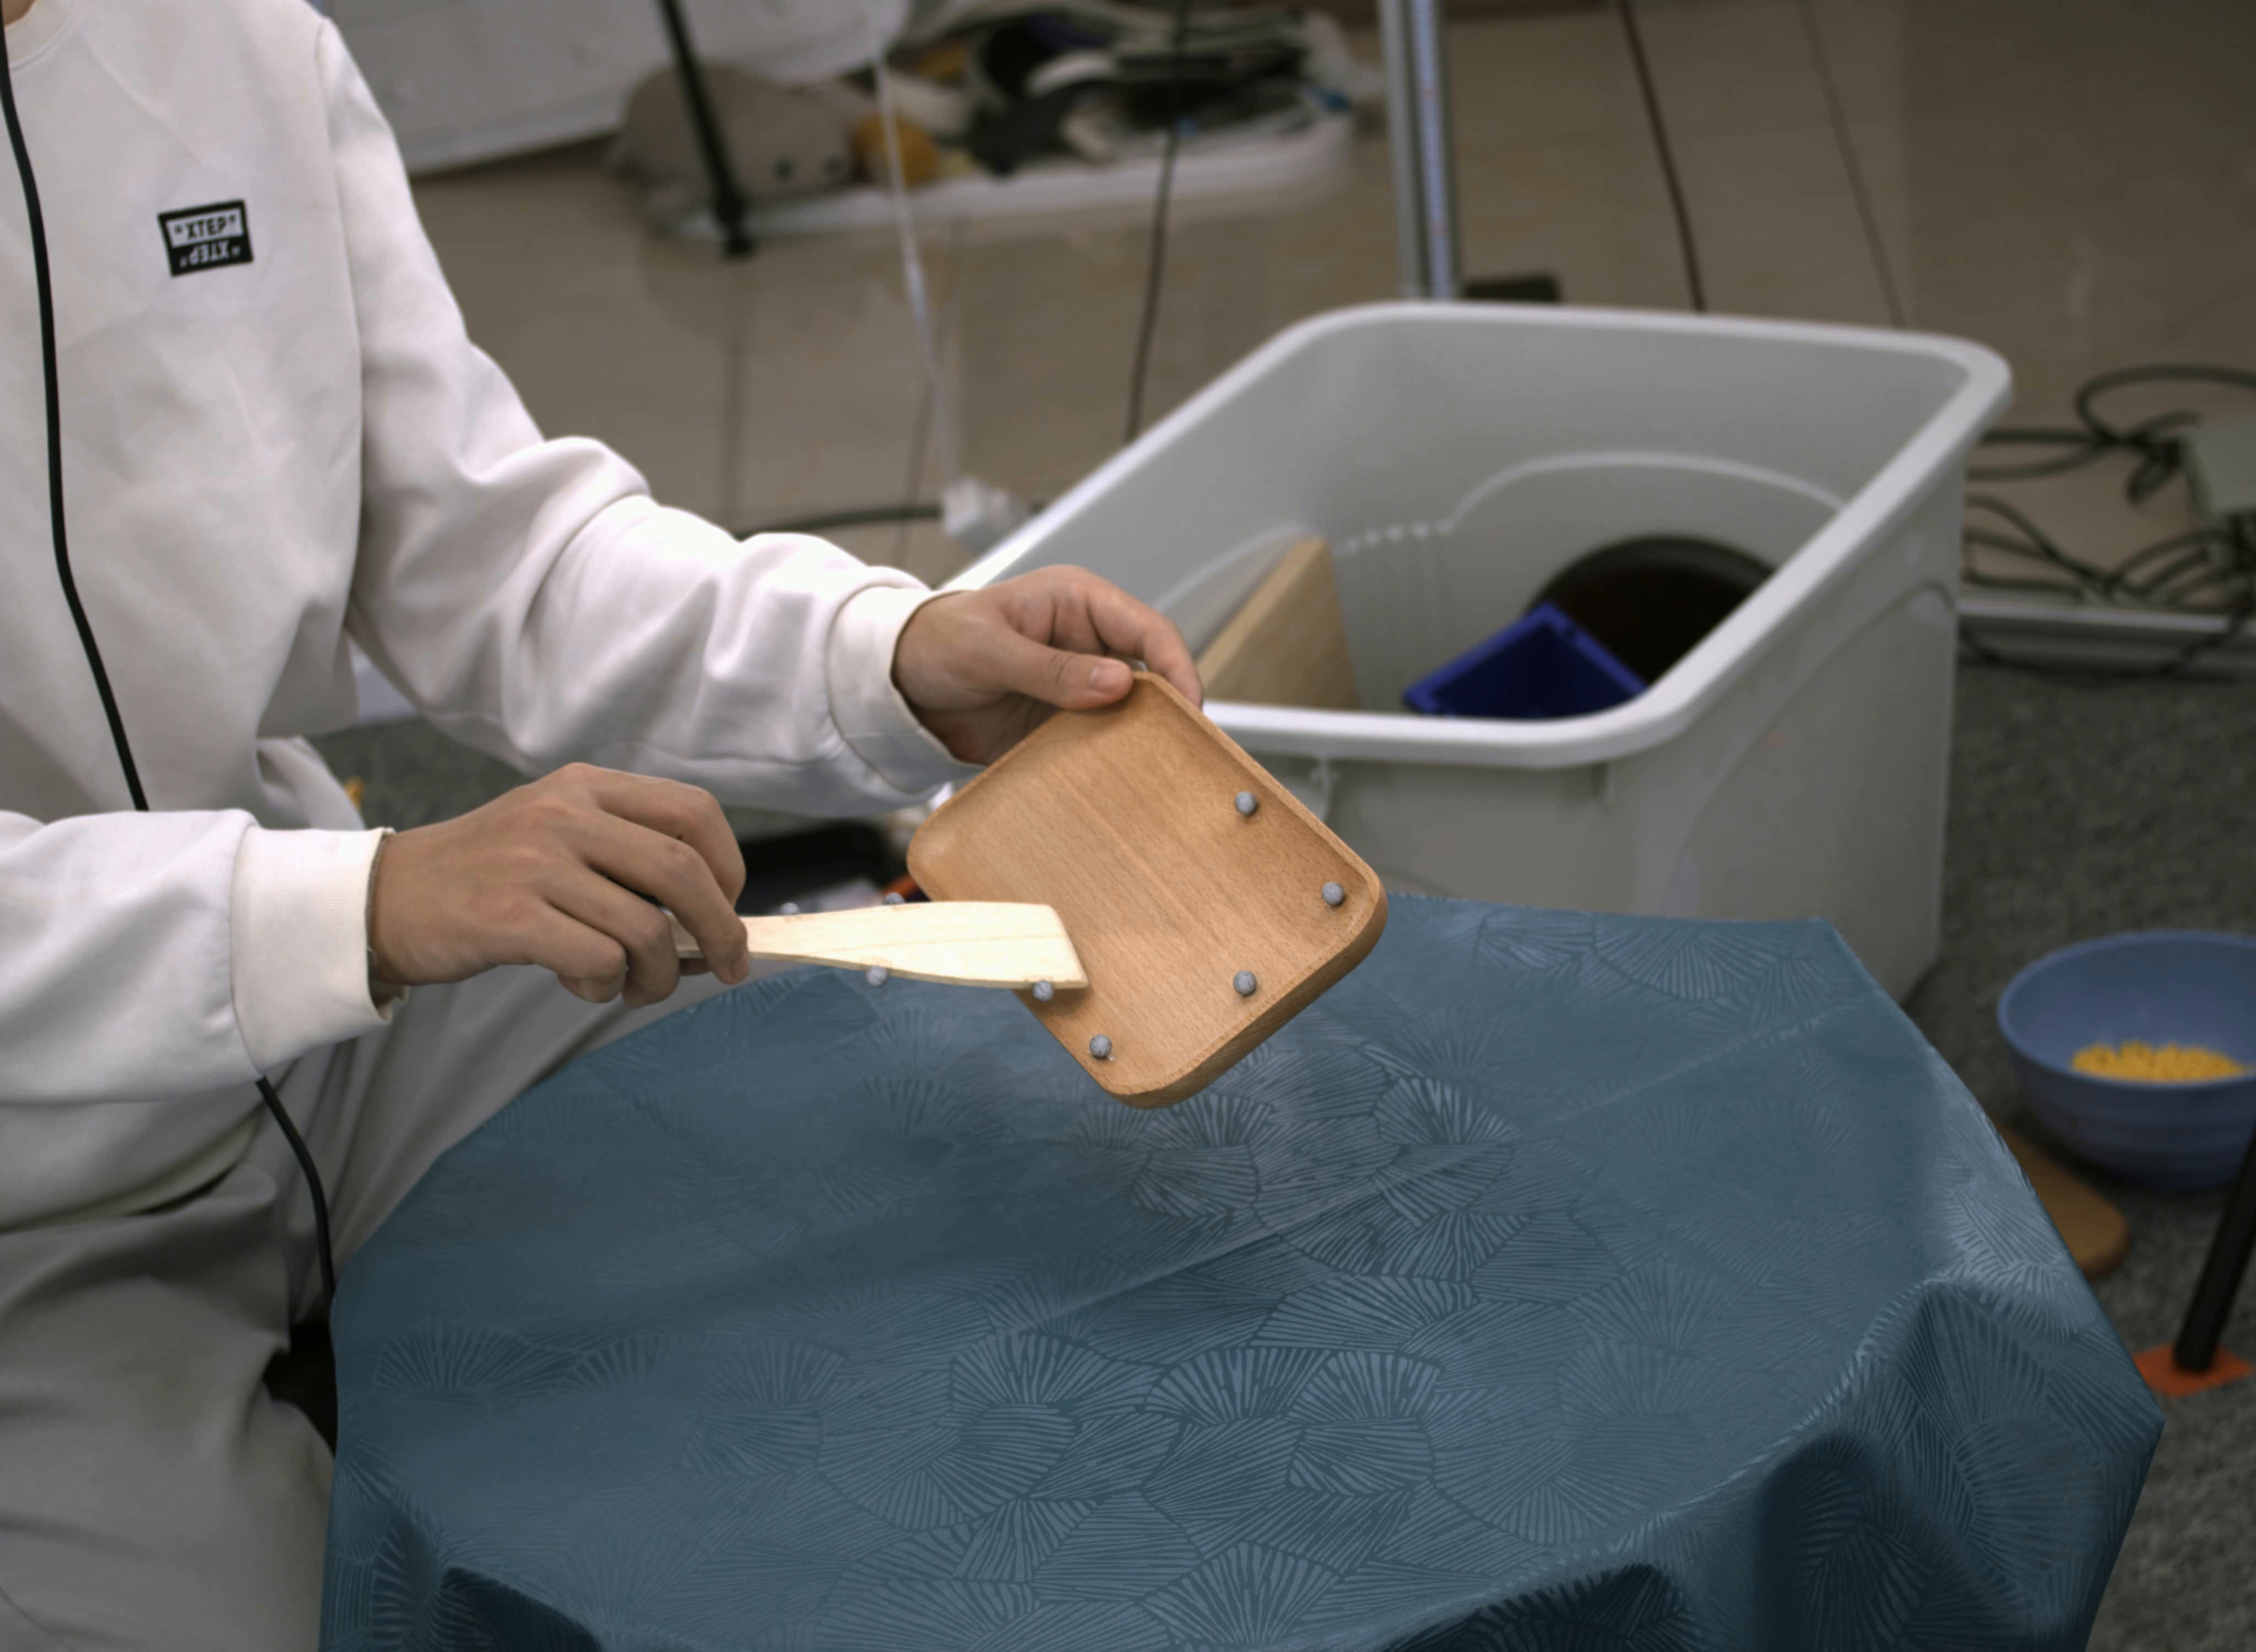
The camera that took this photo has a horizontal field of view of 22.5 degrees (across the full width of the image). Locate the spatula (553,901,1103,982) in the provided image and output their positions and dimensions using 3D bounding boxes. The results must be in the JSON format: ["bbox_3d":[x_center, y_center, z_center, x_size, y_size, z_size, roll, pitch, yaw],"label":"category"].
[{"bbox_3d":[-0.111,0.042,2.081,0.207,0.005,0.049,0,34,-23],"label":"spatula"}]

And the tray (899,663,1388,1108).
[{"bbox_3d":[0.004,0.020,2.138,0.130,0.023,0.247,-36,33,-5],"label":"tray"}]
